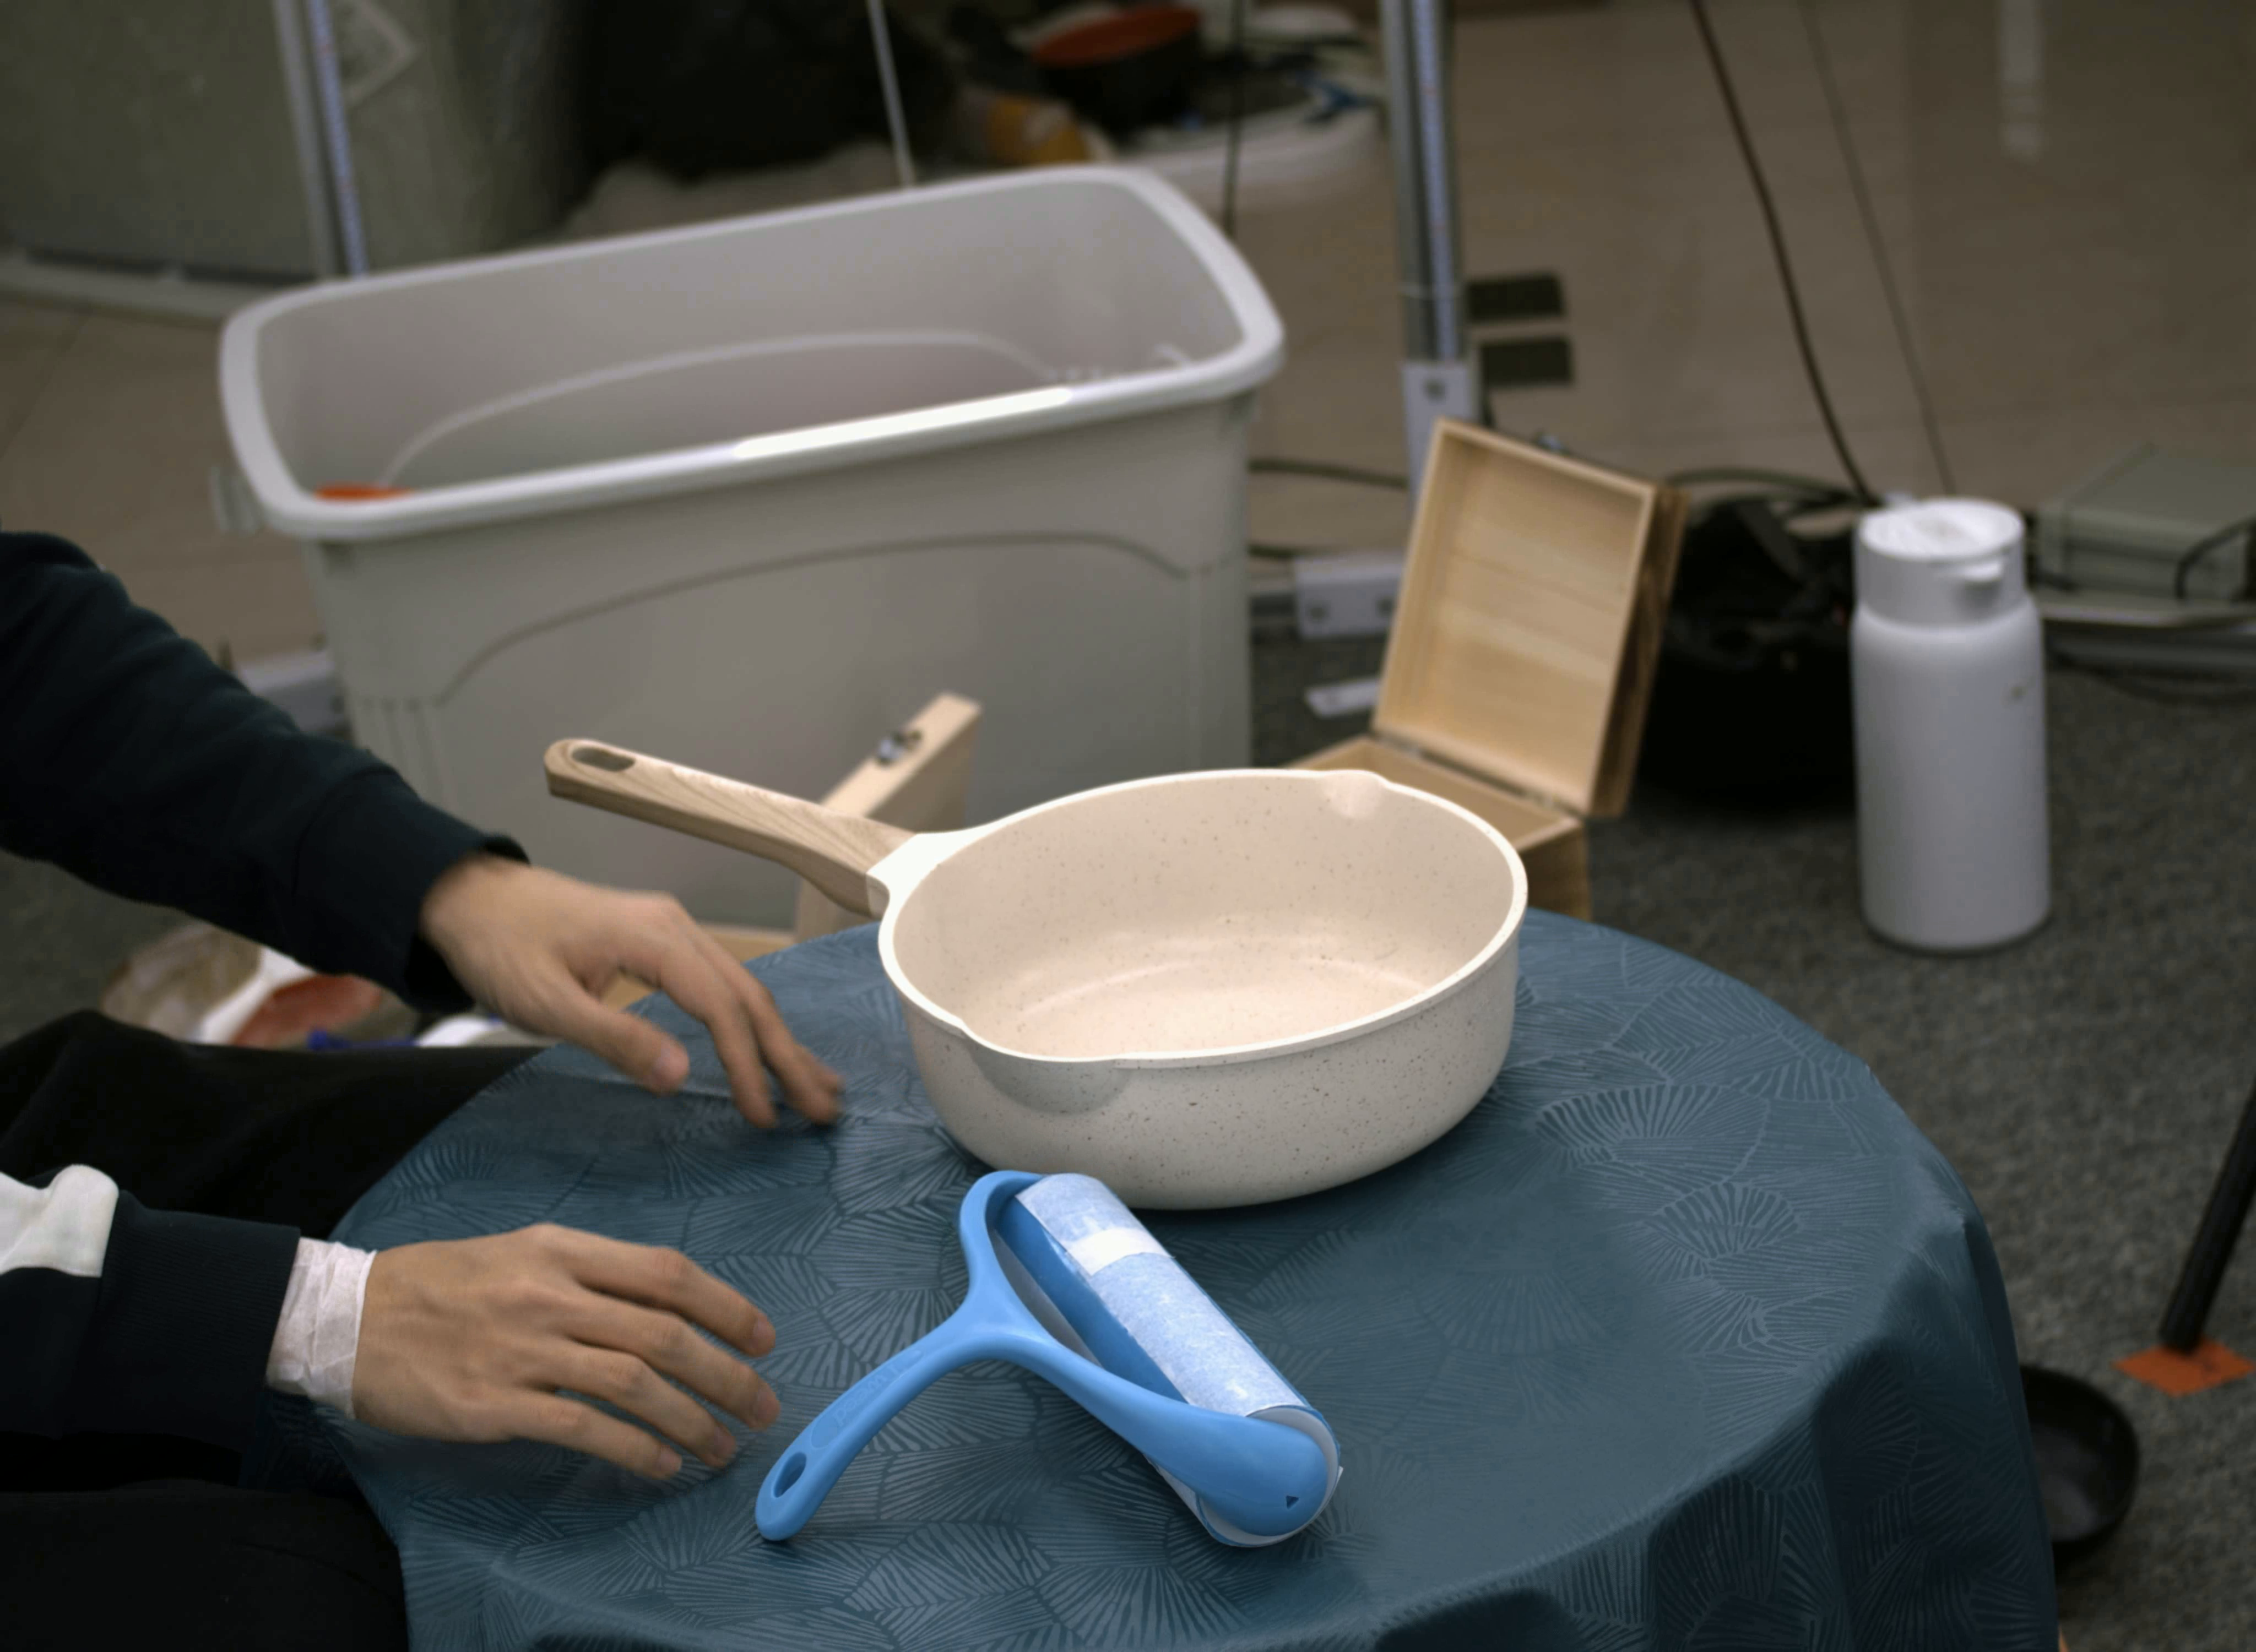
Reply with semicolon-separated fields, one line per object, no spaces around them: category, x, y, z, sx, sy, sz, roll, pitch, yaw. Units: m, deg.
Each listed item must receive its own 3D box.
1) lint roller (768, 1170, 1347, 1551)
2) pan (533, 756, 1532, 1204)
lint roller;-0.042;0.197;1.962;0.179;0.069;0.226;-16;28;-20
pan;-0.046;0.045;2.235;0.433;0.103;0.260;8;30;29
